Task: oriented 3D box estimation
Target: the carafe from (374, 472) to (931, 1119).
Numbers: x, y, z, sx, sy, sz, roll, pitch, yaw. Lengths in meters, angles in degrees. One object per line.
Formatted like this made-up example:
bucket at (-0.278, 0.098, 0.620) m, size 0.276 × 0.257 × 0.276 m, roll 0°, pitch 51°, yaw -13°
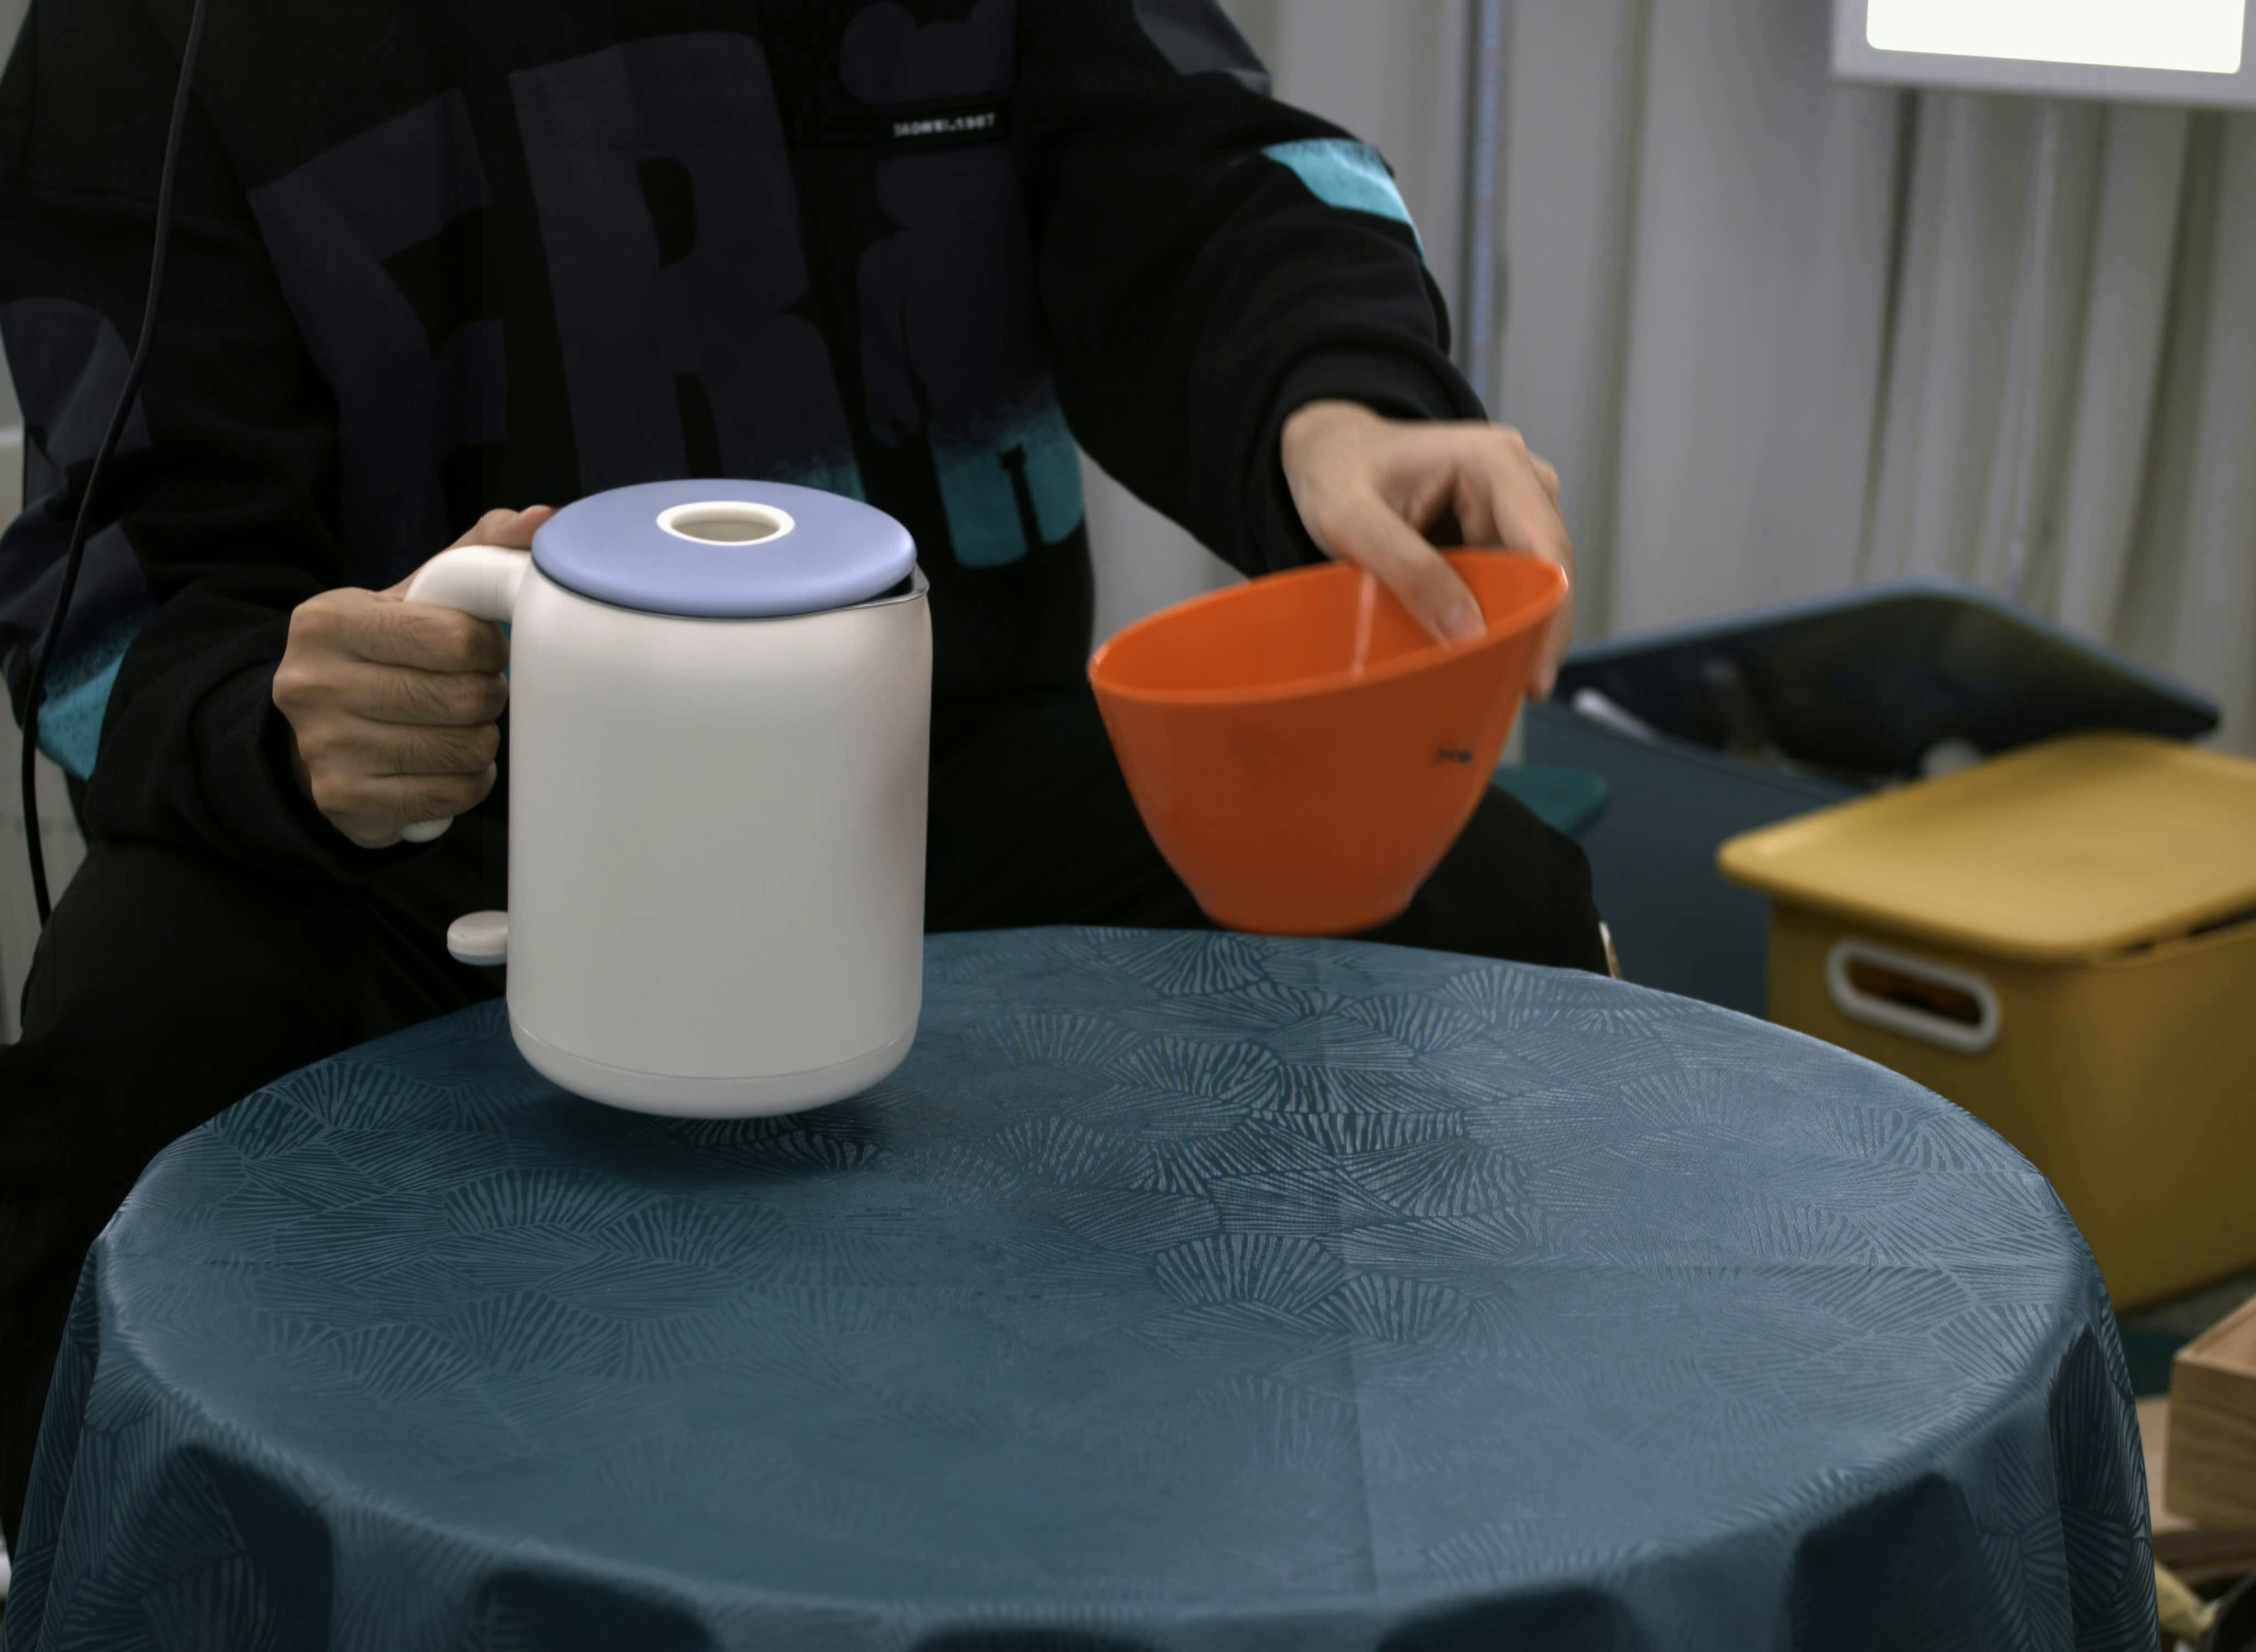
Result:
carafe at (-0.150, -0.014, 1.643) m, size 0.189 × 0.184 × 0.132 m, roll 8°, pitch 20°, yaw 20°

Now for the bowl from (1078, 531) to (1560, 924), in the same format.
bowl at (0.059, -0.028, 1.610) m, size 0.147 × 0.106 × 0.147 m, roll -3°, pitch 22°, yaw 2°
